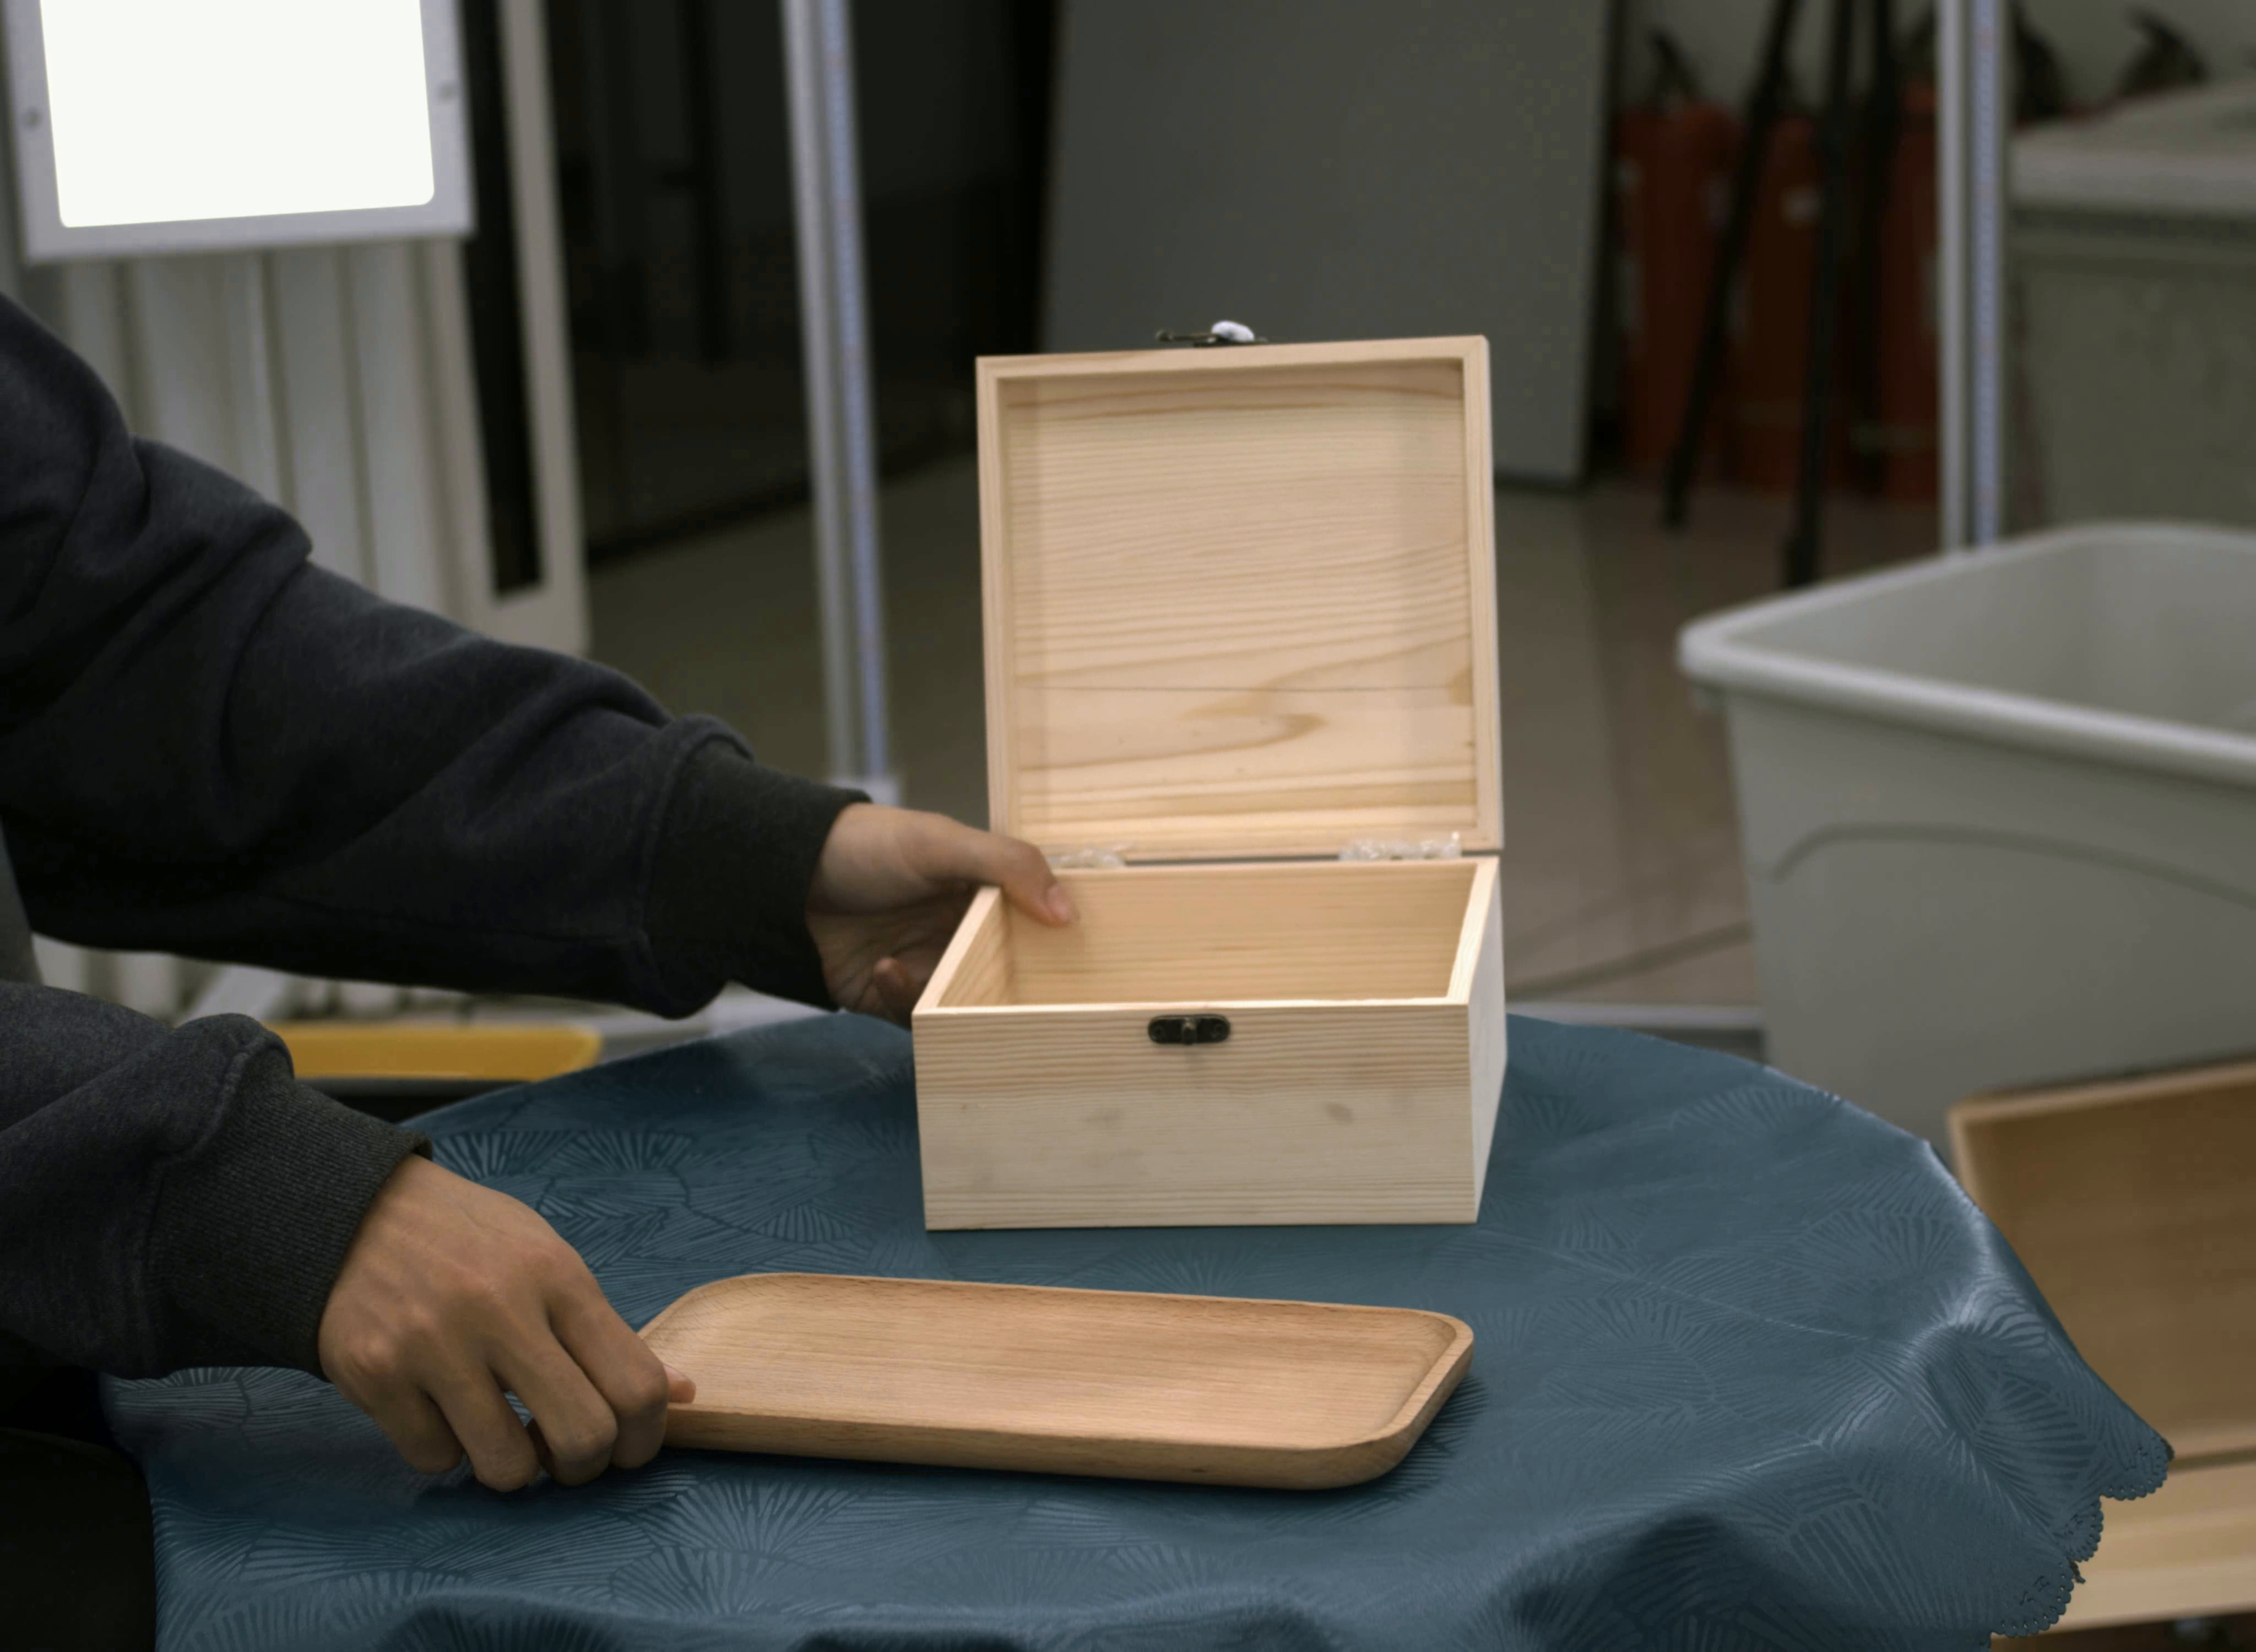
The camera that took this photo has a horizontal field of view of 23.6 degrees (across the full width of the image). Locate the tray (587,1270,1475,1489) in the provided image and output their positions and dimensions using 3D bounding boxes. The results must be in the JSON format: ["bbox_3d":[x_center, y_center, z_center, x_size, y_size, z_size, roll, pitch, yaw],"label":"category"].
[{"bbox_3d":[-0.027,0.160,1.572,0.250,0.023,0.129,1,11,20],"label":"tray"}]

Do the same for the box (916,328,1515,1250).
[{"bbox_3d":[0.029,-0.019,1.819,0.180,0.256,0.264,-5,12,8],"label":"box"}]
